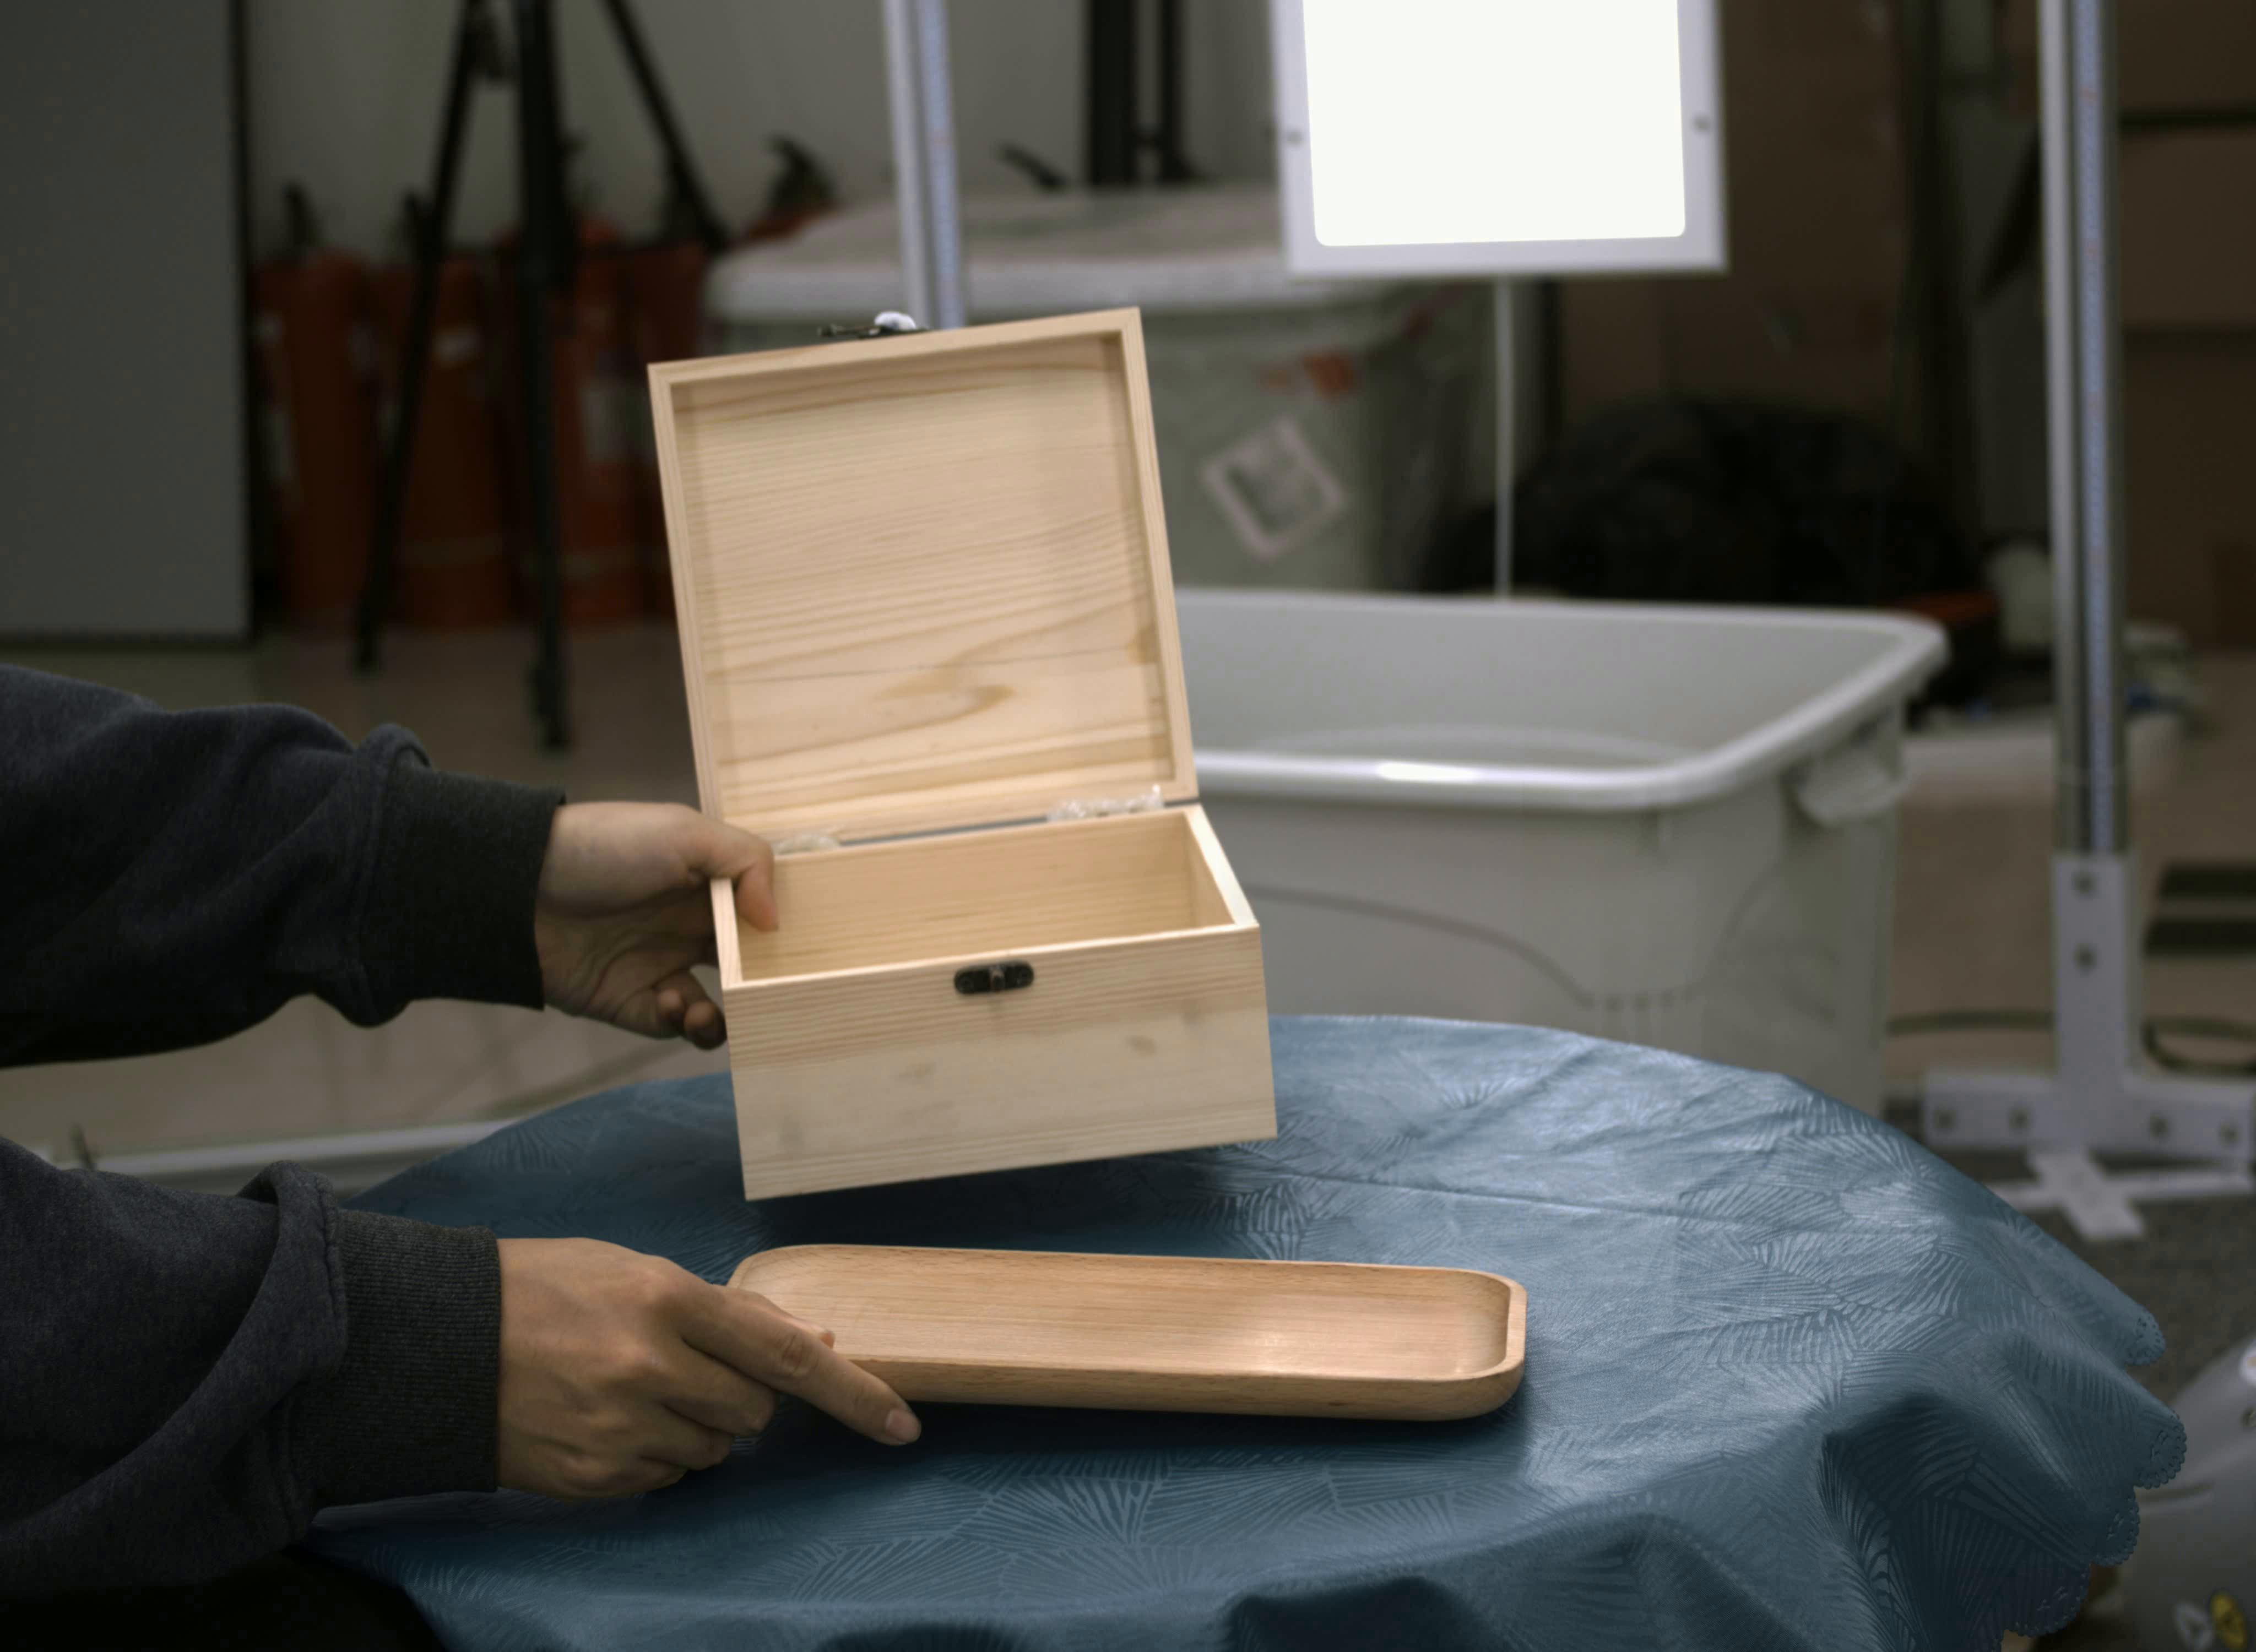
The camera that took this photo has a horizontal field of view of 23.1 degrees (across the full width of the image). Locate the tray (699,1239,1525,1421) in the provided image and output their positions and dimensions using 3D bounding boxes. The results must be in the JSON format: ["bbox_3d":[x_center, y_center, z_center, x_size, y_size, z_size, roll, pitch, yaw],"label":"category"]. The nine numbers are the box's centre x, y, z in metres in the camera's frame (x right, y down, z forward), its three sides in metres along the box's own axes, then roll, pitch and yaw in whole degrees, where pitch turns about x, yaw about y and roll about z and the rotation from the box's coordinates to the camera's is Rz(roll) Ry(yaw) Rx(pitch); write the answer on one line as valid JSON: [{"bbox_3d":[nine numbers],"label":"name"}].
[{"bbox_3d":[-0.003,0.155,1.696,0.251,0.023,0.129,1,8,7],"label":"tray"}]

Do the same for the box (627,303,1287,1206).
[{"bbox_3d":[-0.064,-0.033,1.929,0.181,0.254,0.265,-10,13,-3],"label":"box"}]
